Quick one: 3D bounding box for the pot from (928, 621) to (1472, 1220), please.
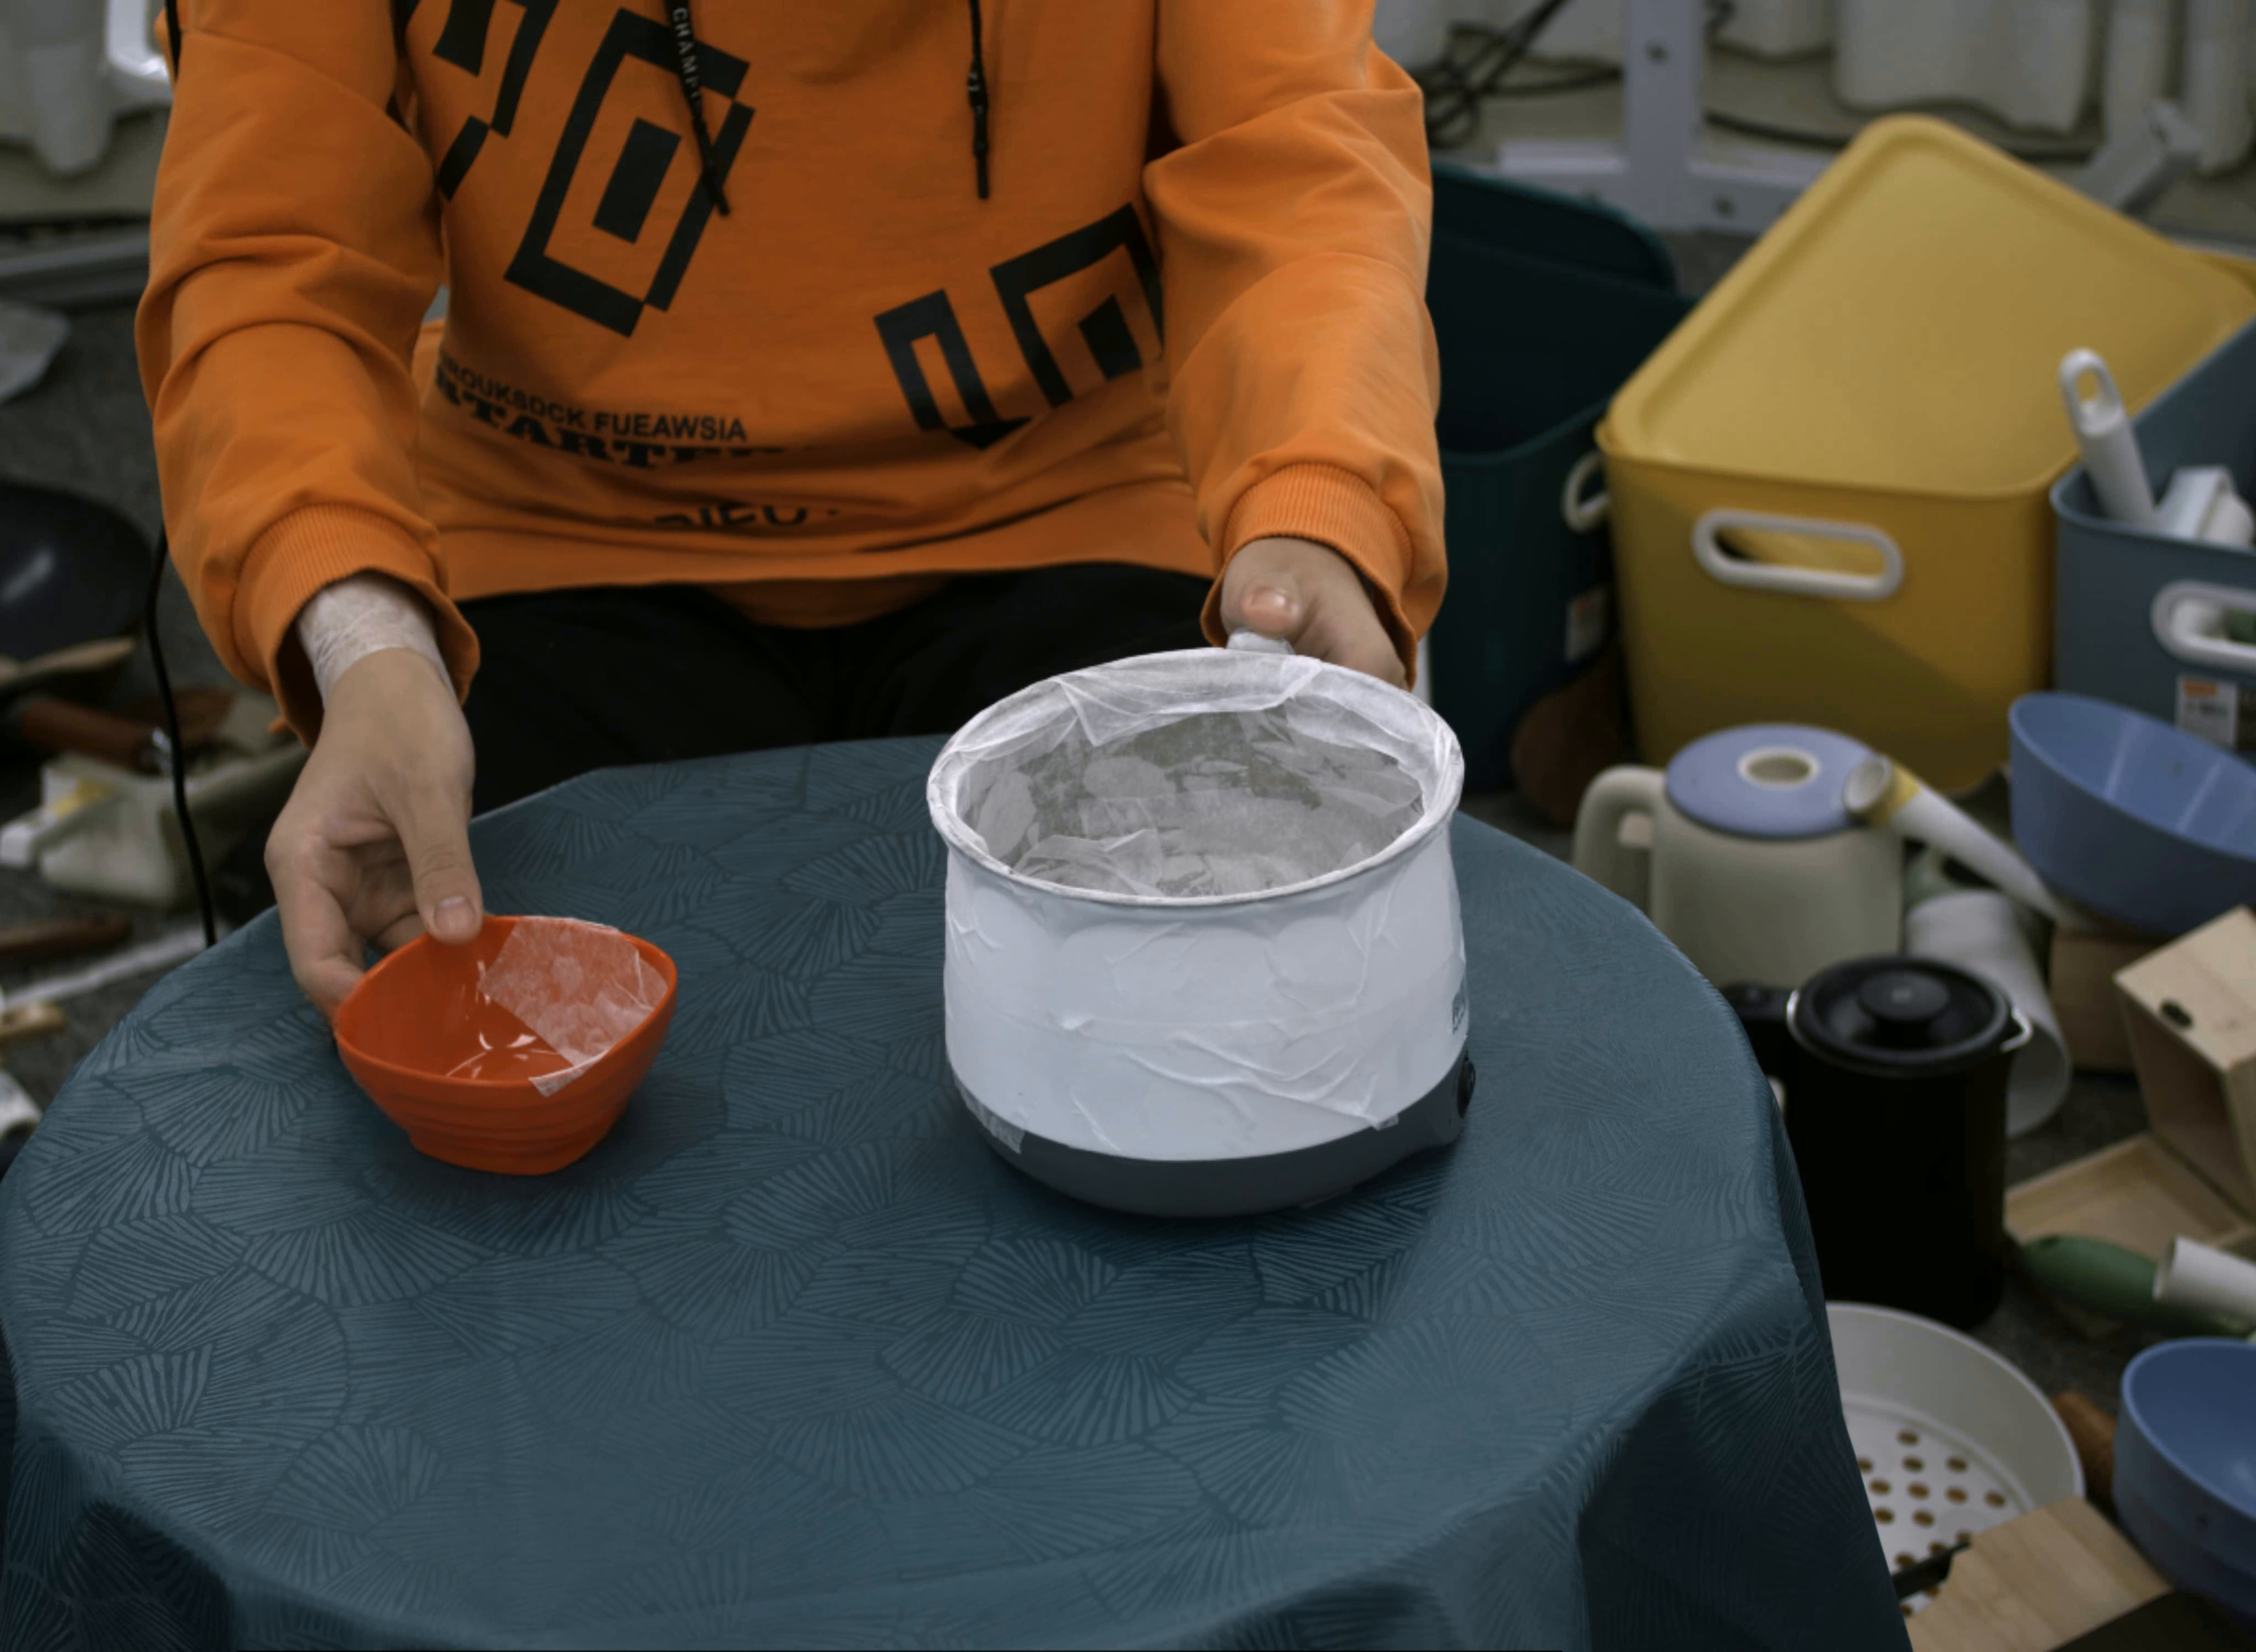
[{"bbox_3d":[0.030,0.024,1.899,0.177,0.135,0.238,3,28,10],"label":"pot"}]

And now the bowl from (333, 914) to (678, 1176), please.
[{"bbox_3d":[-0.209,0.079,1.910,0.118,0.051,0.121,-3,28,2],"label":"bowl"}]
